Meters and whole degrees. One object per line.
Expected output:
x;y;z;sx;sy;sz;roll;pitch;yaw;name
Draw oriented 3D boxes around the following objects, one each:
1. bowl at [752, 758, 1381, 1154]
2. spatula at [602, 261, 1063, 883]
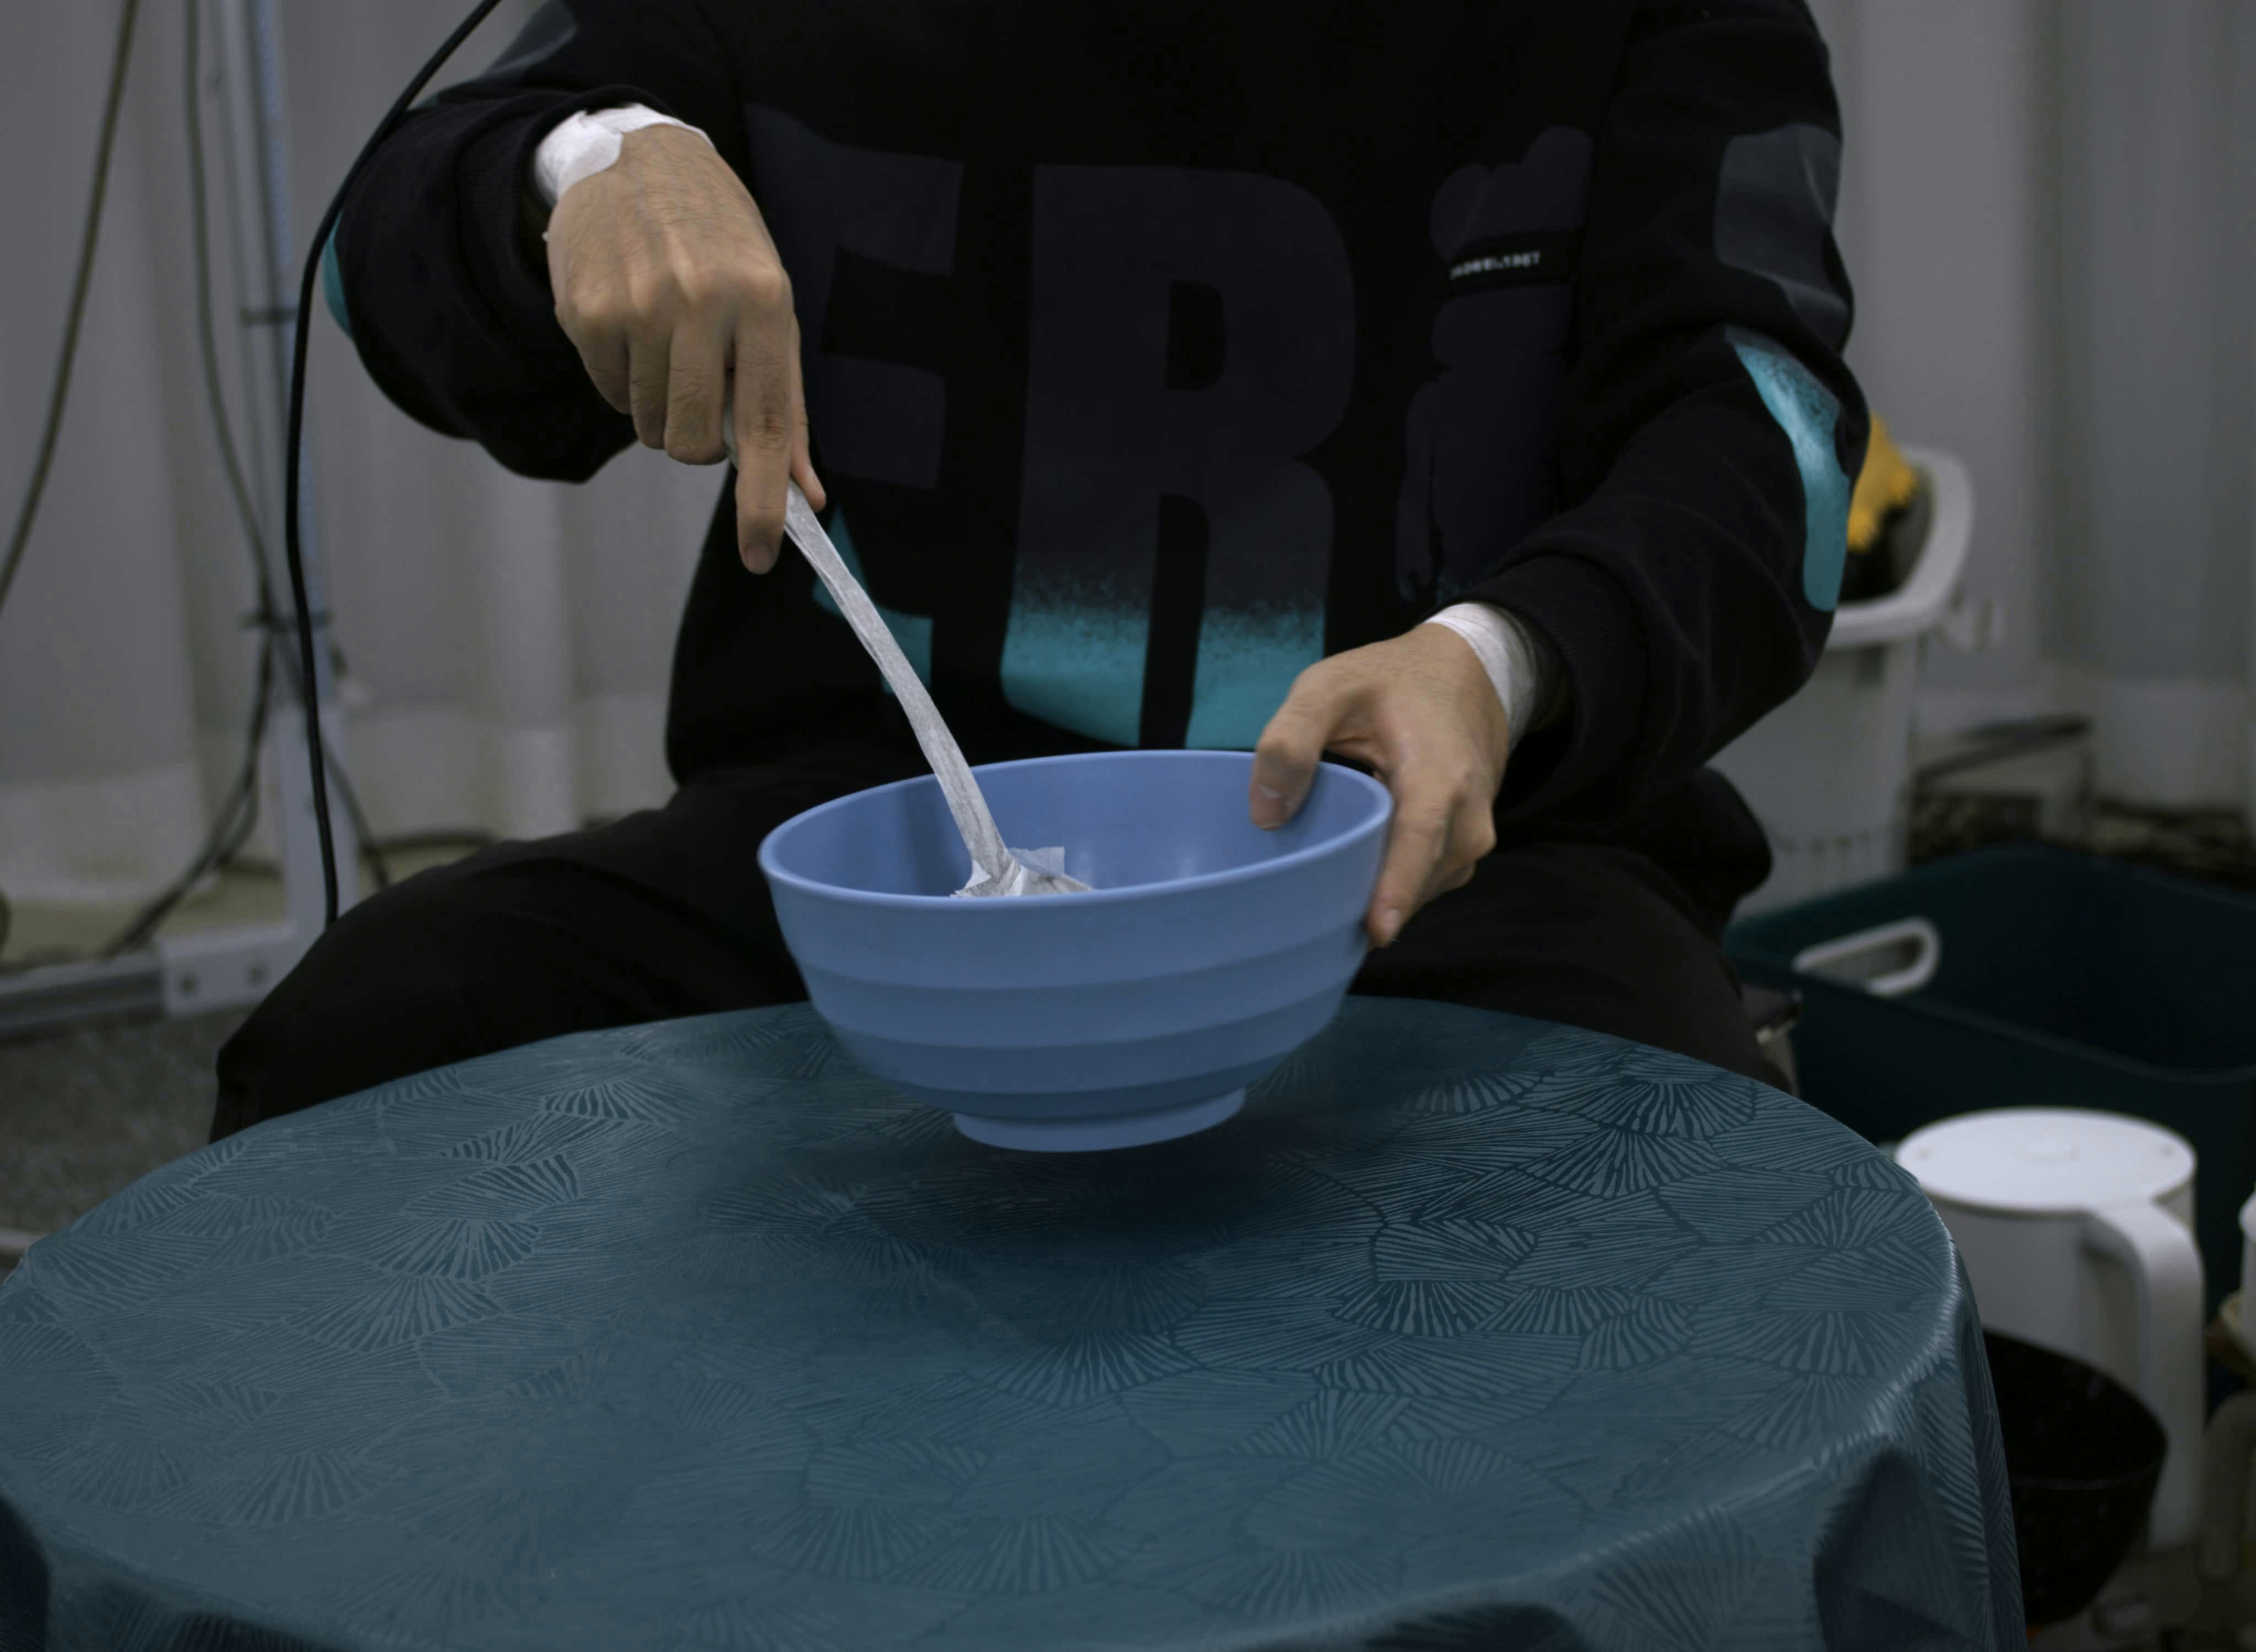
-0.015;0.044;1.702;0.196;0.095;0.197;-6;11;1;bowl
-0.075;-0.061;1.768;0.098;0.044;0.369;-6;55;-50;spatula
